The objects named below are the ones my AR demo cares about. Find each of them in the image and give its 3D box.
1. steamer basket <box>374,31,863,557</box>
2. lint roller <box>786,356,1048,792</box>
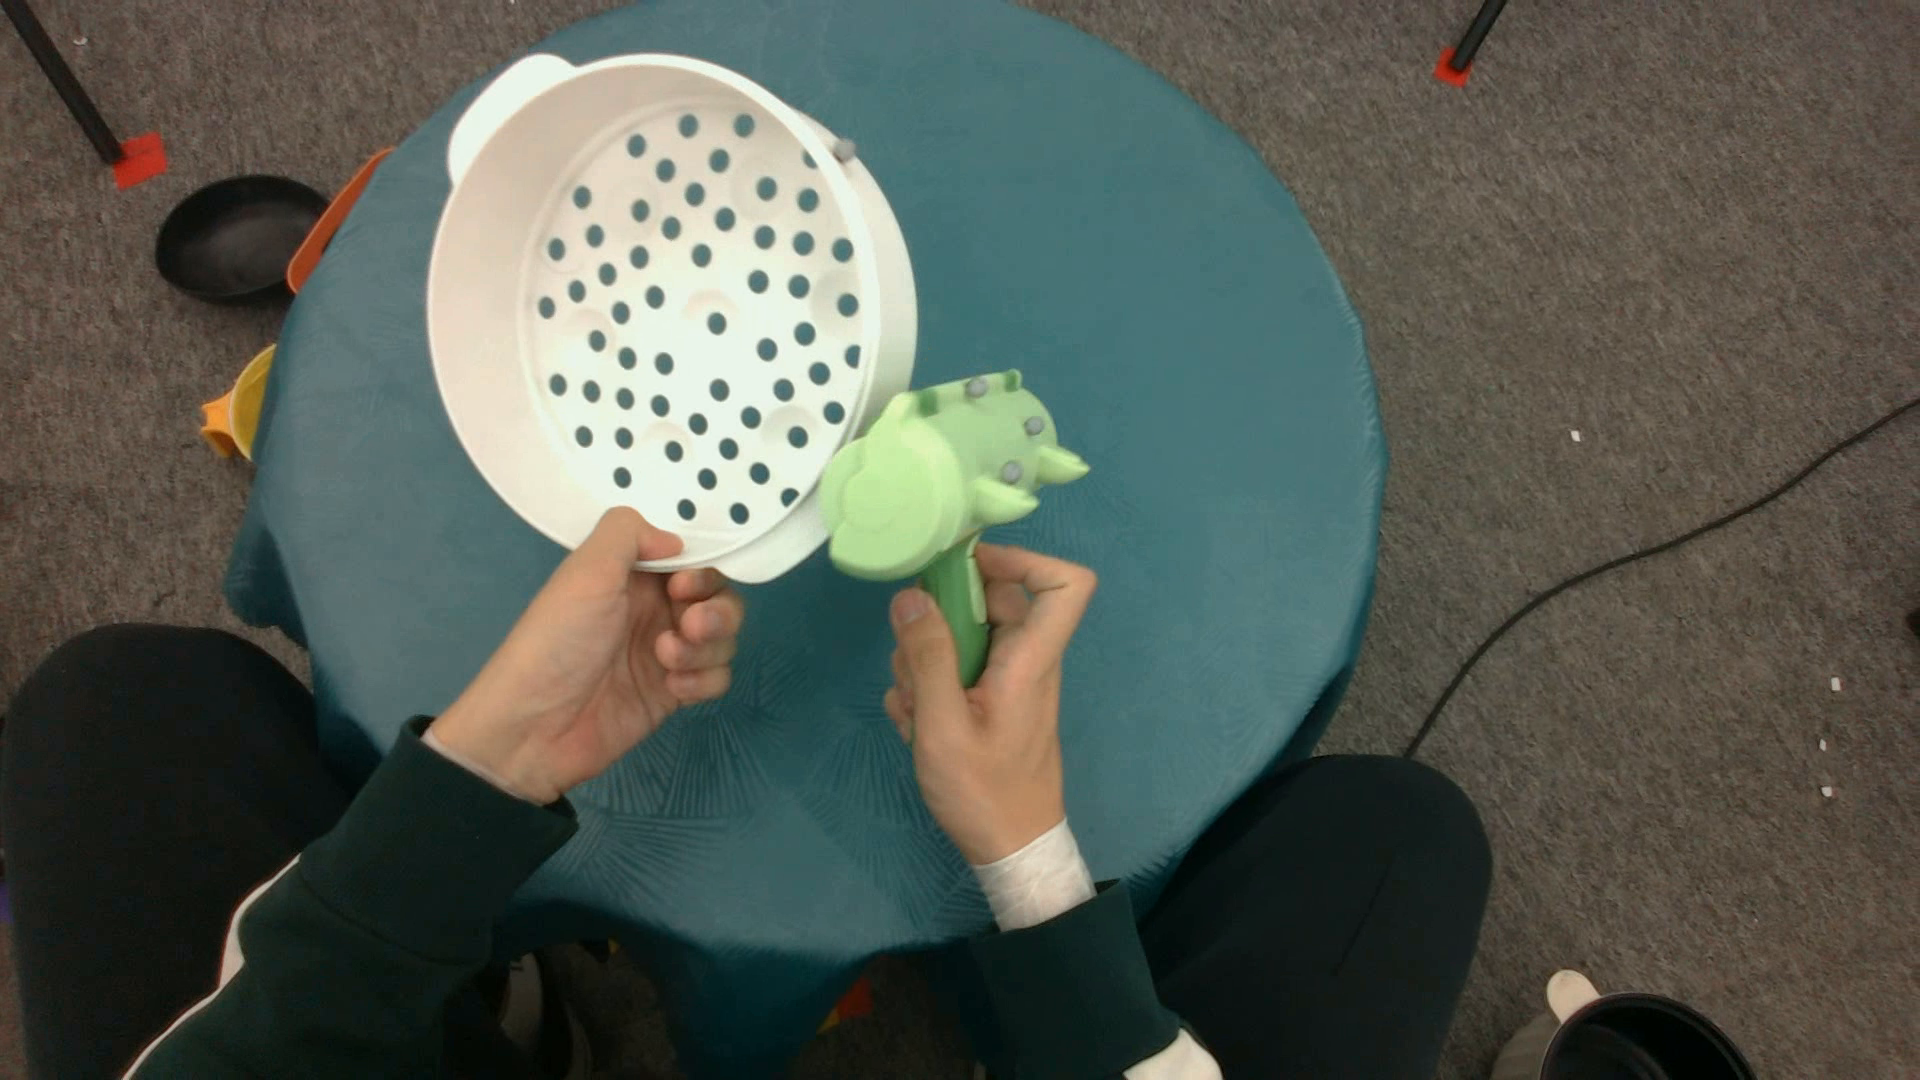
[{"bbox_3d":[-0.138,-0.100,0.567,0.201,0.069,0.230,-38,84,17],"label":"steamer basket"},{"bbox_3d":[-0.003,0.017,0.586,0.082,0.199,0.183,-8,98,13],"label":"lint roller"}]
